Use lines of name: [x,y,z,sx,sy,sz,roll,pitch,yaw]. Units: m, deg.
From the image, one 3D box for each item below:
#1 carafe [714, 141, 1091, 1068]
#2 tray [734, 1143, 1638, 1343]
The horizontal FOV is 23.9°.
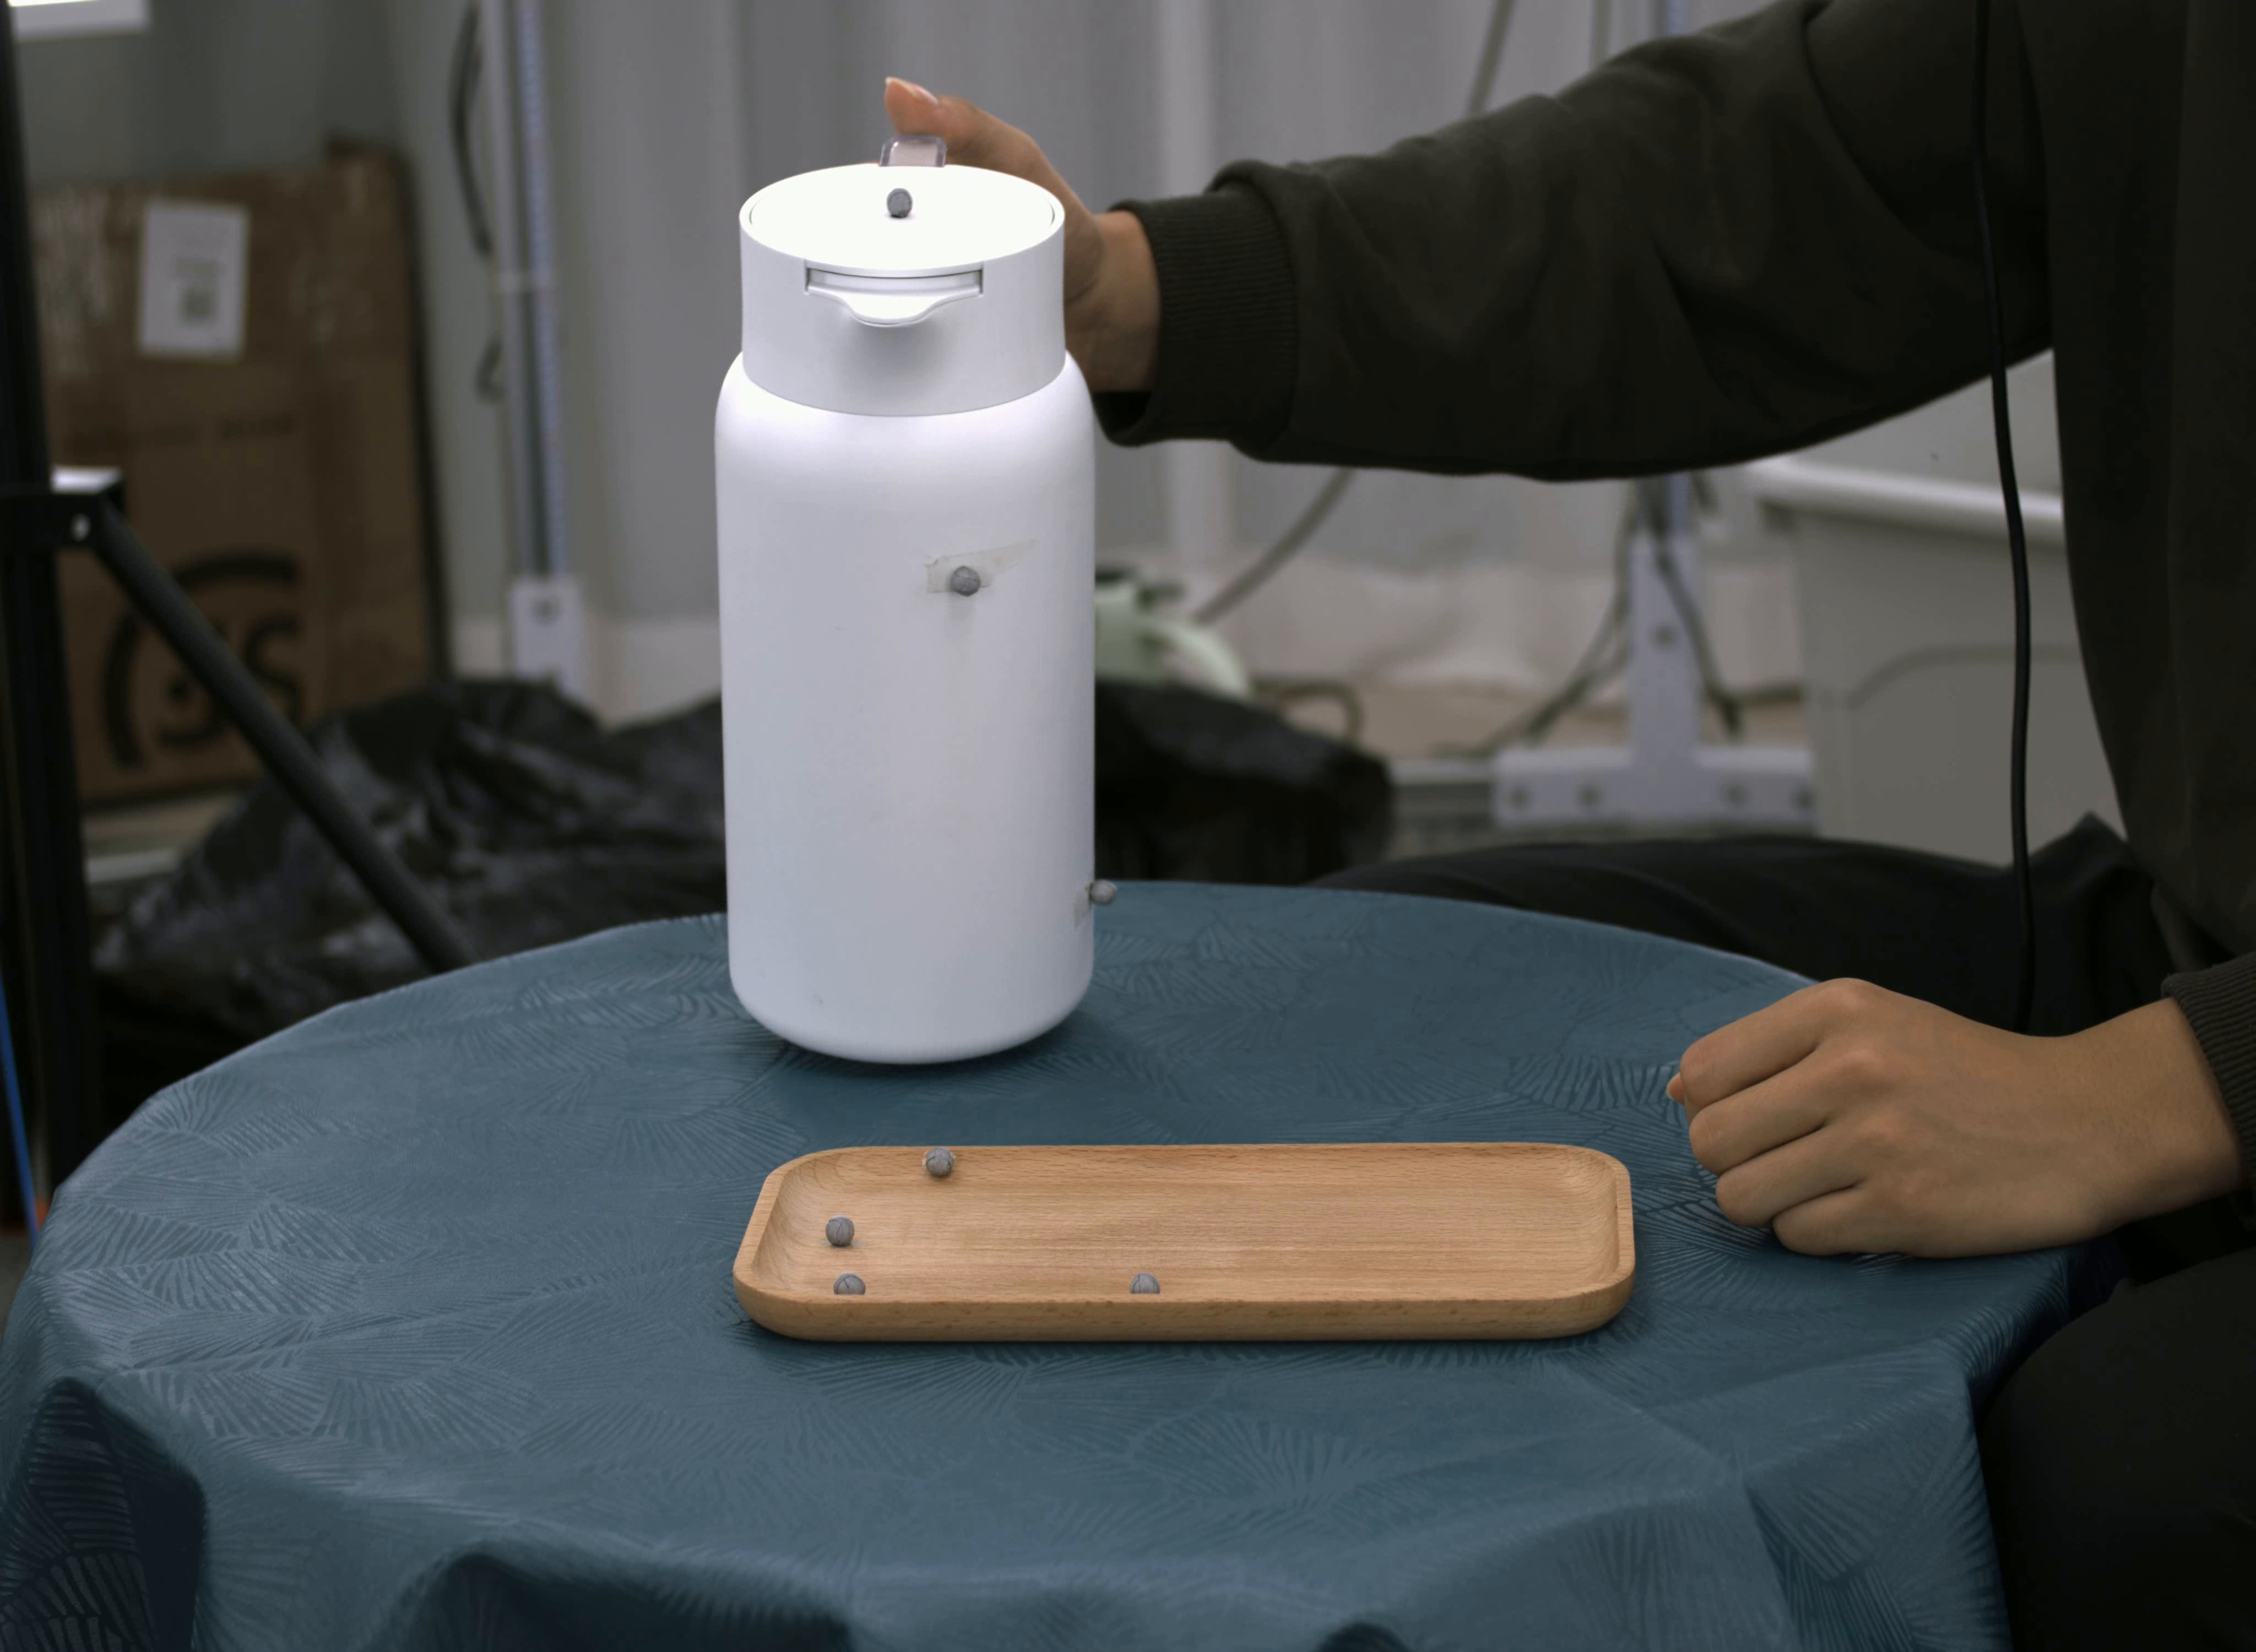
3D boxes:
carafe: [-0.071,-0.073,1.684,0.123,0.268,0.173,-1,24,2]
tray: [0.018,0.118,1.495,0.251,0.023,0.130,0,18,7]
